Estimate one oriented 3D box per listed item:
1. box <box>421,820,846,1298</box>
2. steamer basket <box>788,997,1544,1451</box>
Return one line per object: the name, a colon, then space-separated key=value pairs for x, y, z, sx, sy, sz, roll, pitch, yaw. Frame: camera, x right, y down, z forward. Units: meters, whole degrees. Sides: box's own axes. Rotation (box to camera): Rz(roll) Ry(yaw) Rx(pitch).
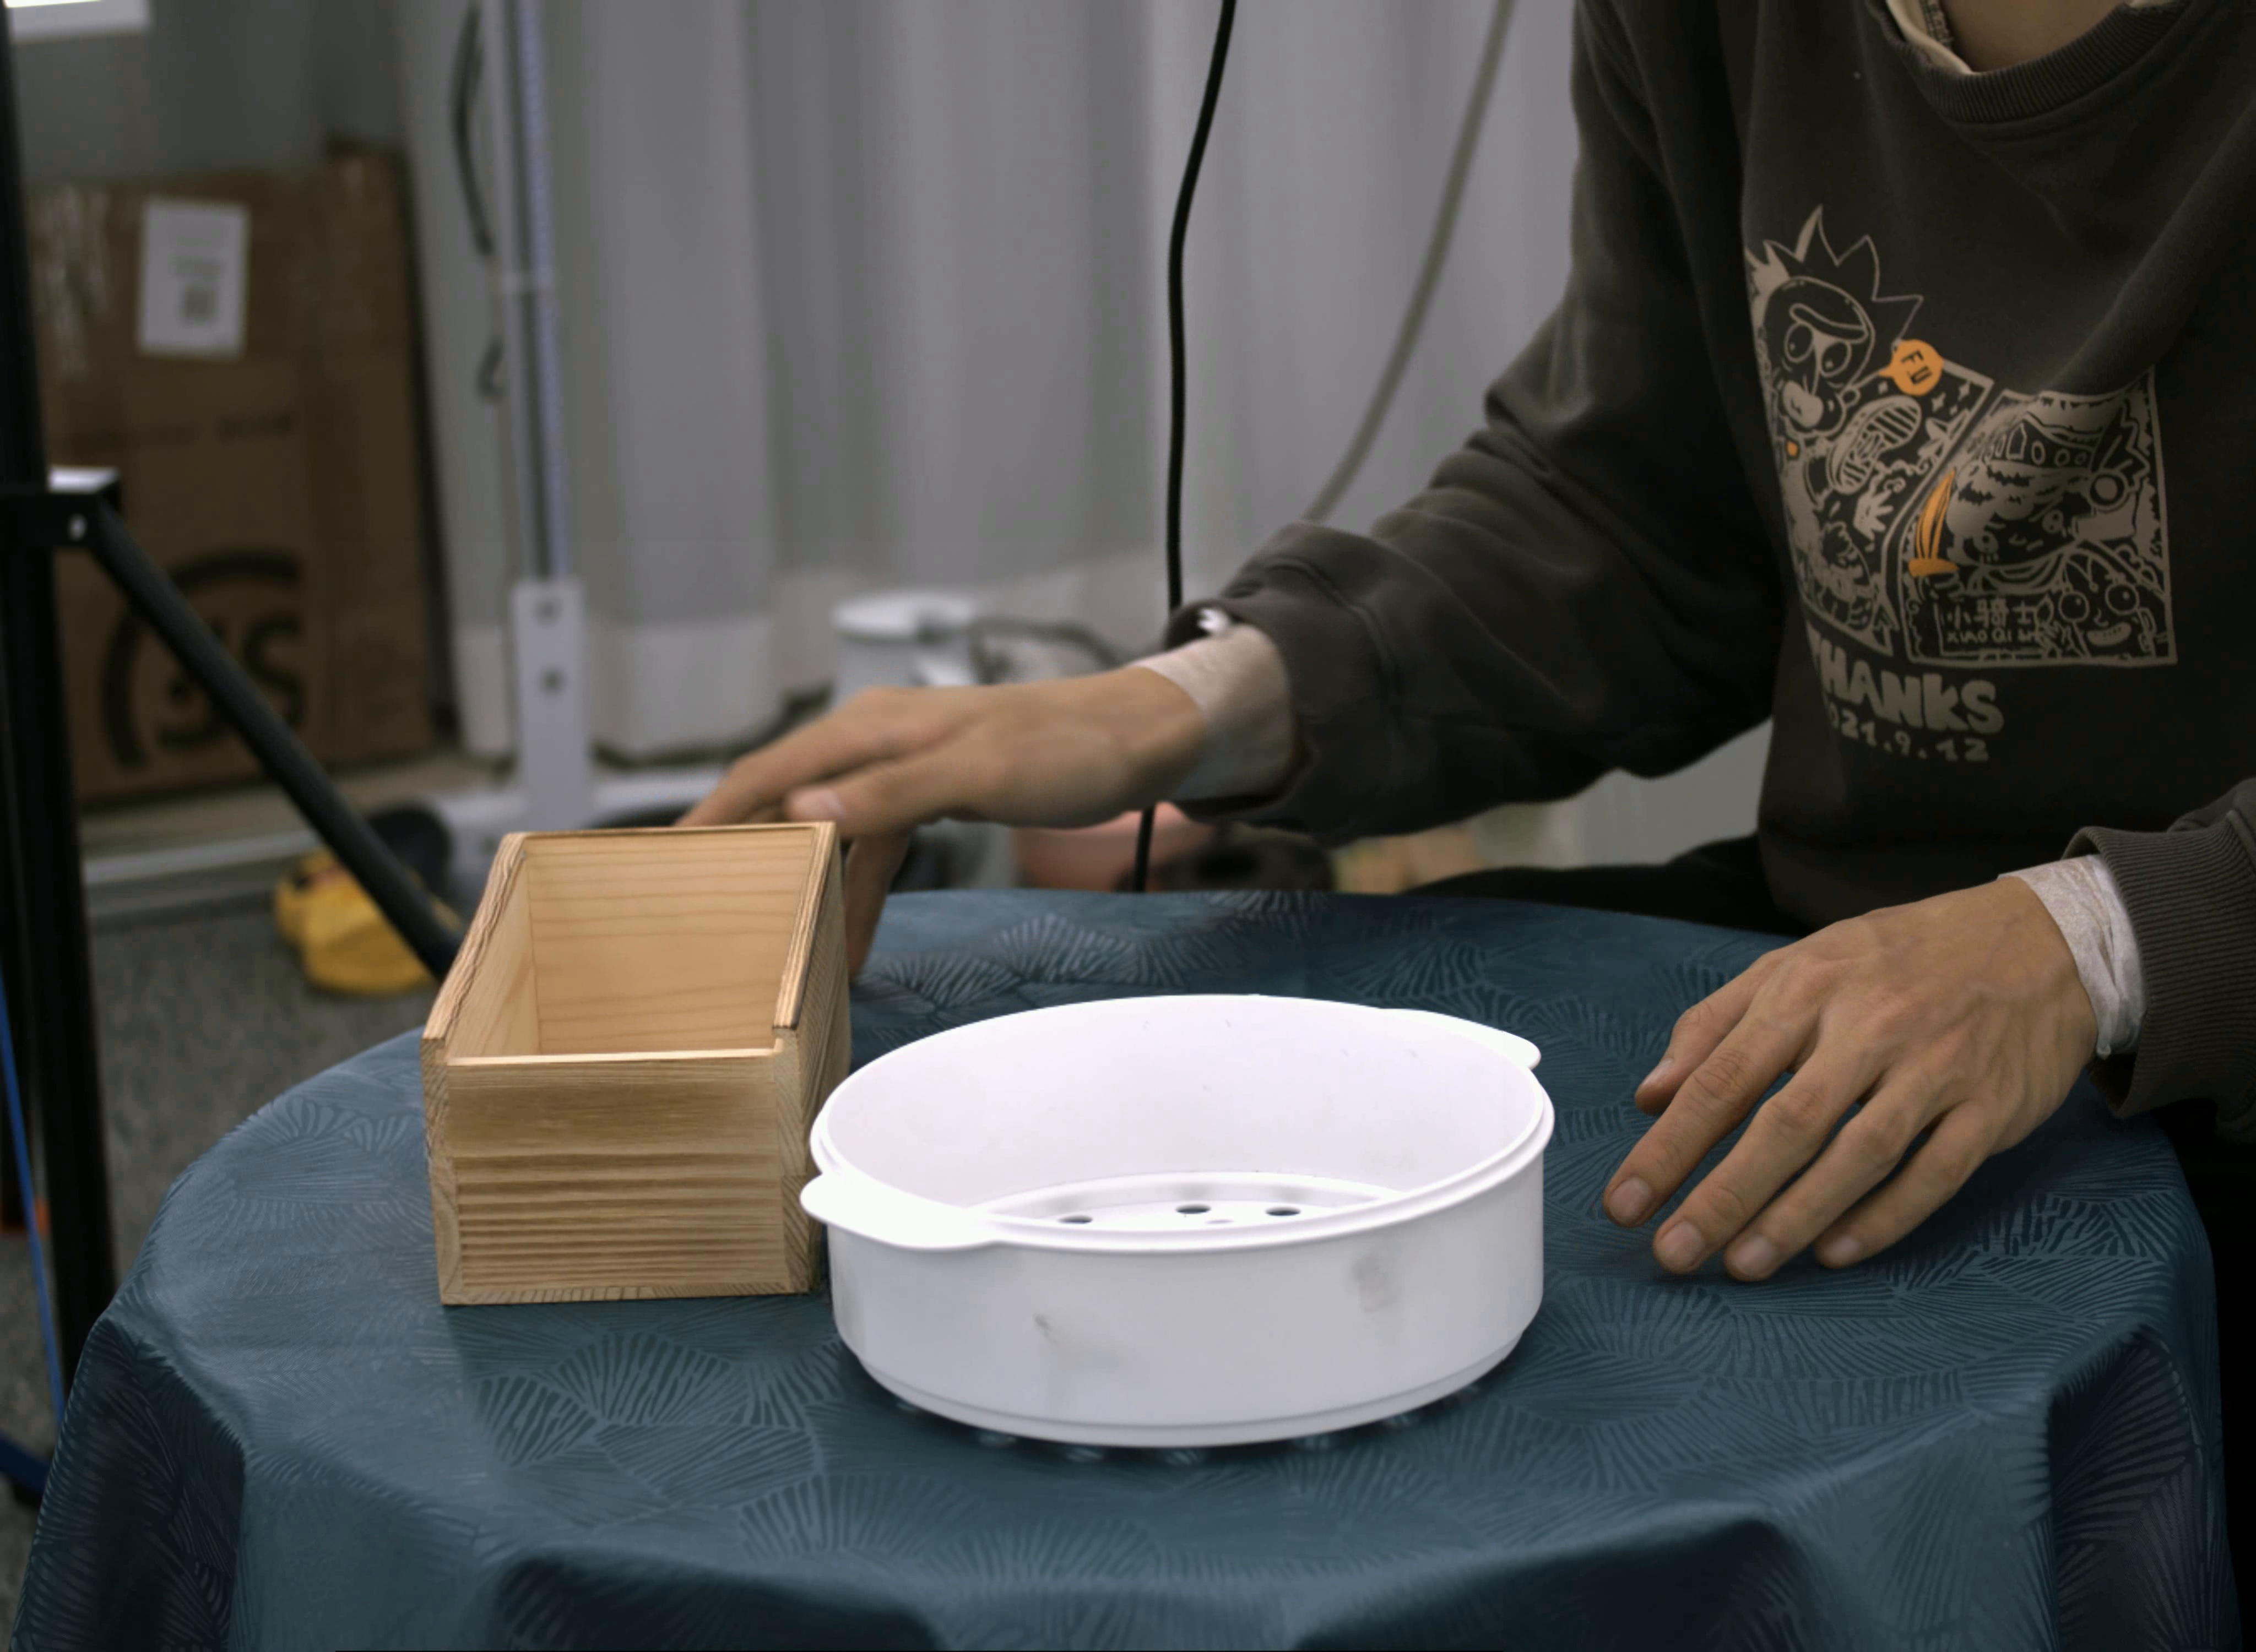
box: x=-0.143 y=0.066 z=1.589 sx=0.107 sy=0.080 sz=0.212 roll=-2 pitch=16 yaw=1
steamer basket: x=0.012 y=0.107 z=1.437 sx=0.225 sy=0.069 sz=0.206 roll=-13 pitch=19 yaw=-37
